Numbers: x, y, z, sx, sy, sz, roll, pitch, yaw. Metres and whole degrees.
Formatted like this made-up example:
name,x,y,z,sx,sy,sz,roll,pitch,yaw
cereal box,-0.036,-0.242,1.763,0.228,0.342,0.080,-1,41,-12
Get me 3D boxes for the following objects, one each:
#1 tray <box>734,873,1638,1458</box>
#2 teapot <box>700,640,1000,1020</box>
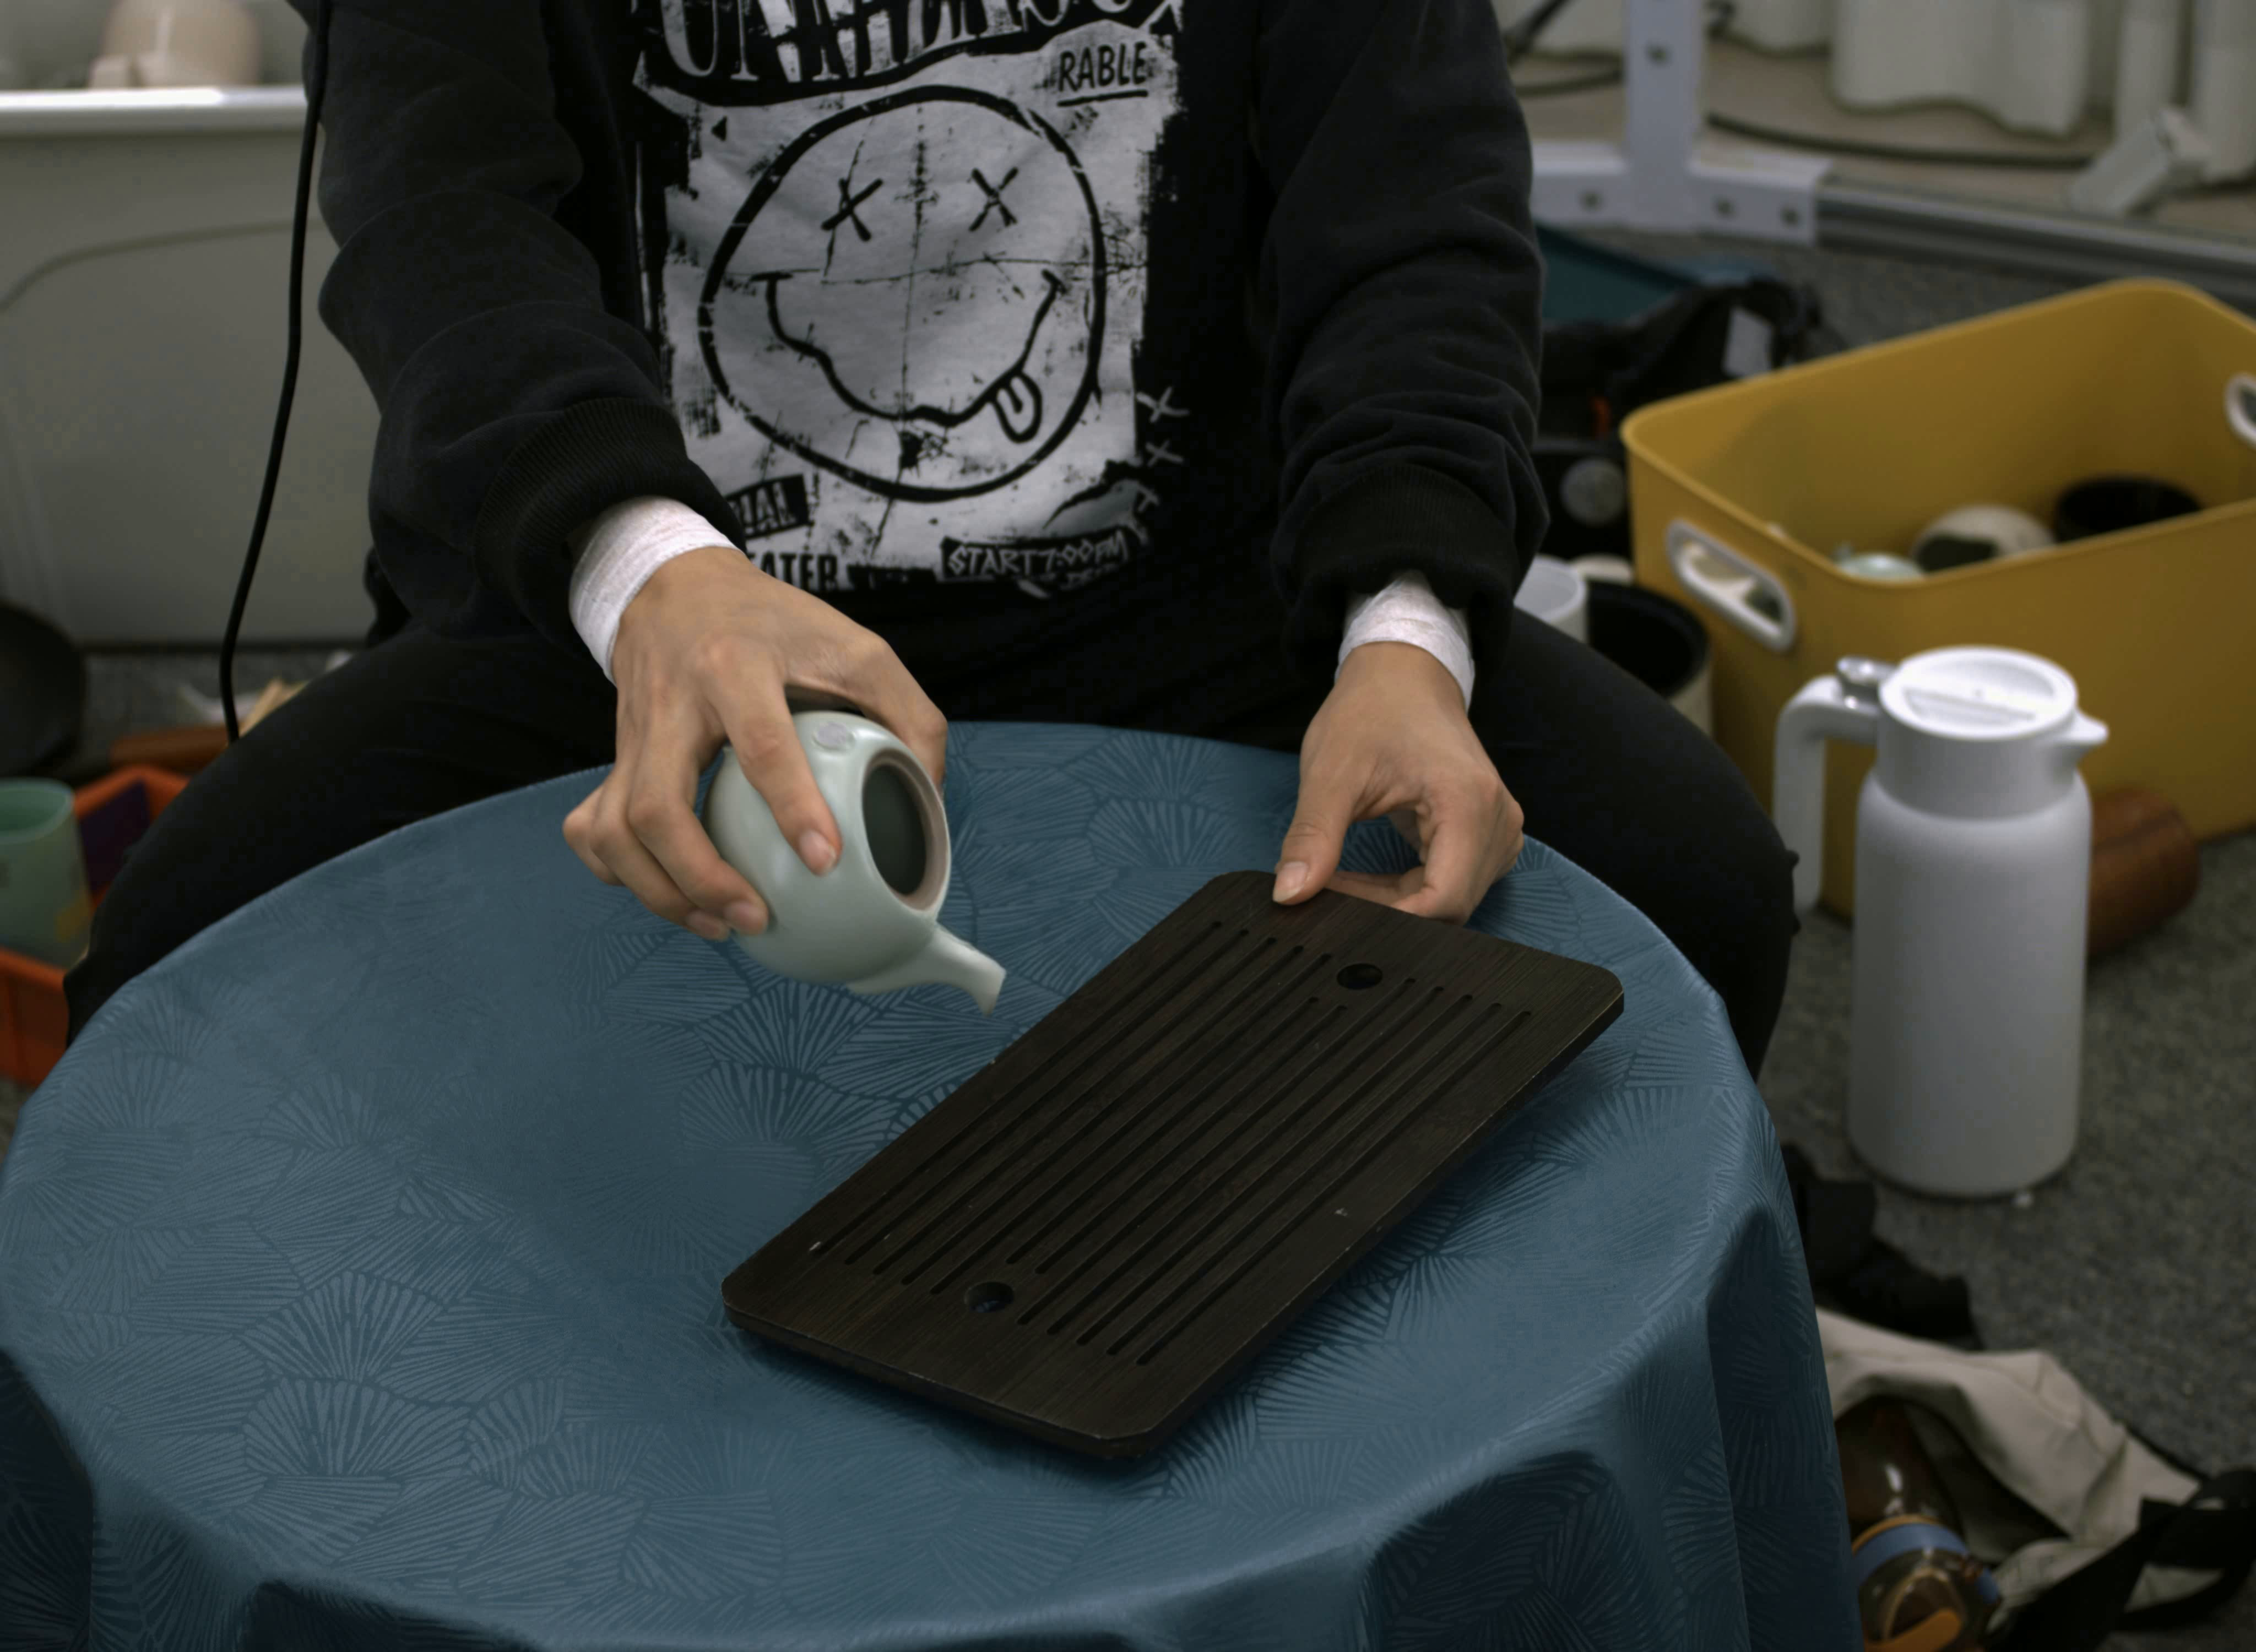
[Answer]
name,x,y,z,sx,sy,sz,roll,pitch,yaw
tray,0.024,0.108,1.848,0.169,0.018,0.311,15,35,32
teapot,-0.096,0.006,1.805,0.074,0.143,0.090,-11,24,23
